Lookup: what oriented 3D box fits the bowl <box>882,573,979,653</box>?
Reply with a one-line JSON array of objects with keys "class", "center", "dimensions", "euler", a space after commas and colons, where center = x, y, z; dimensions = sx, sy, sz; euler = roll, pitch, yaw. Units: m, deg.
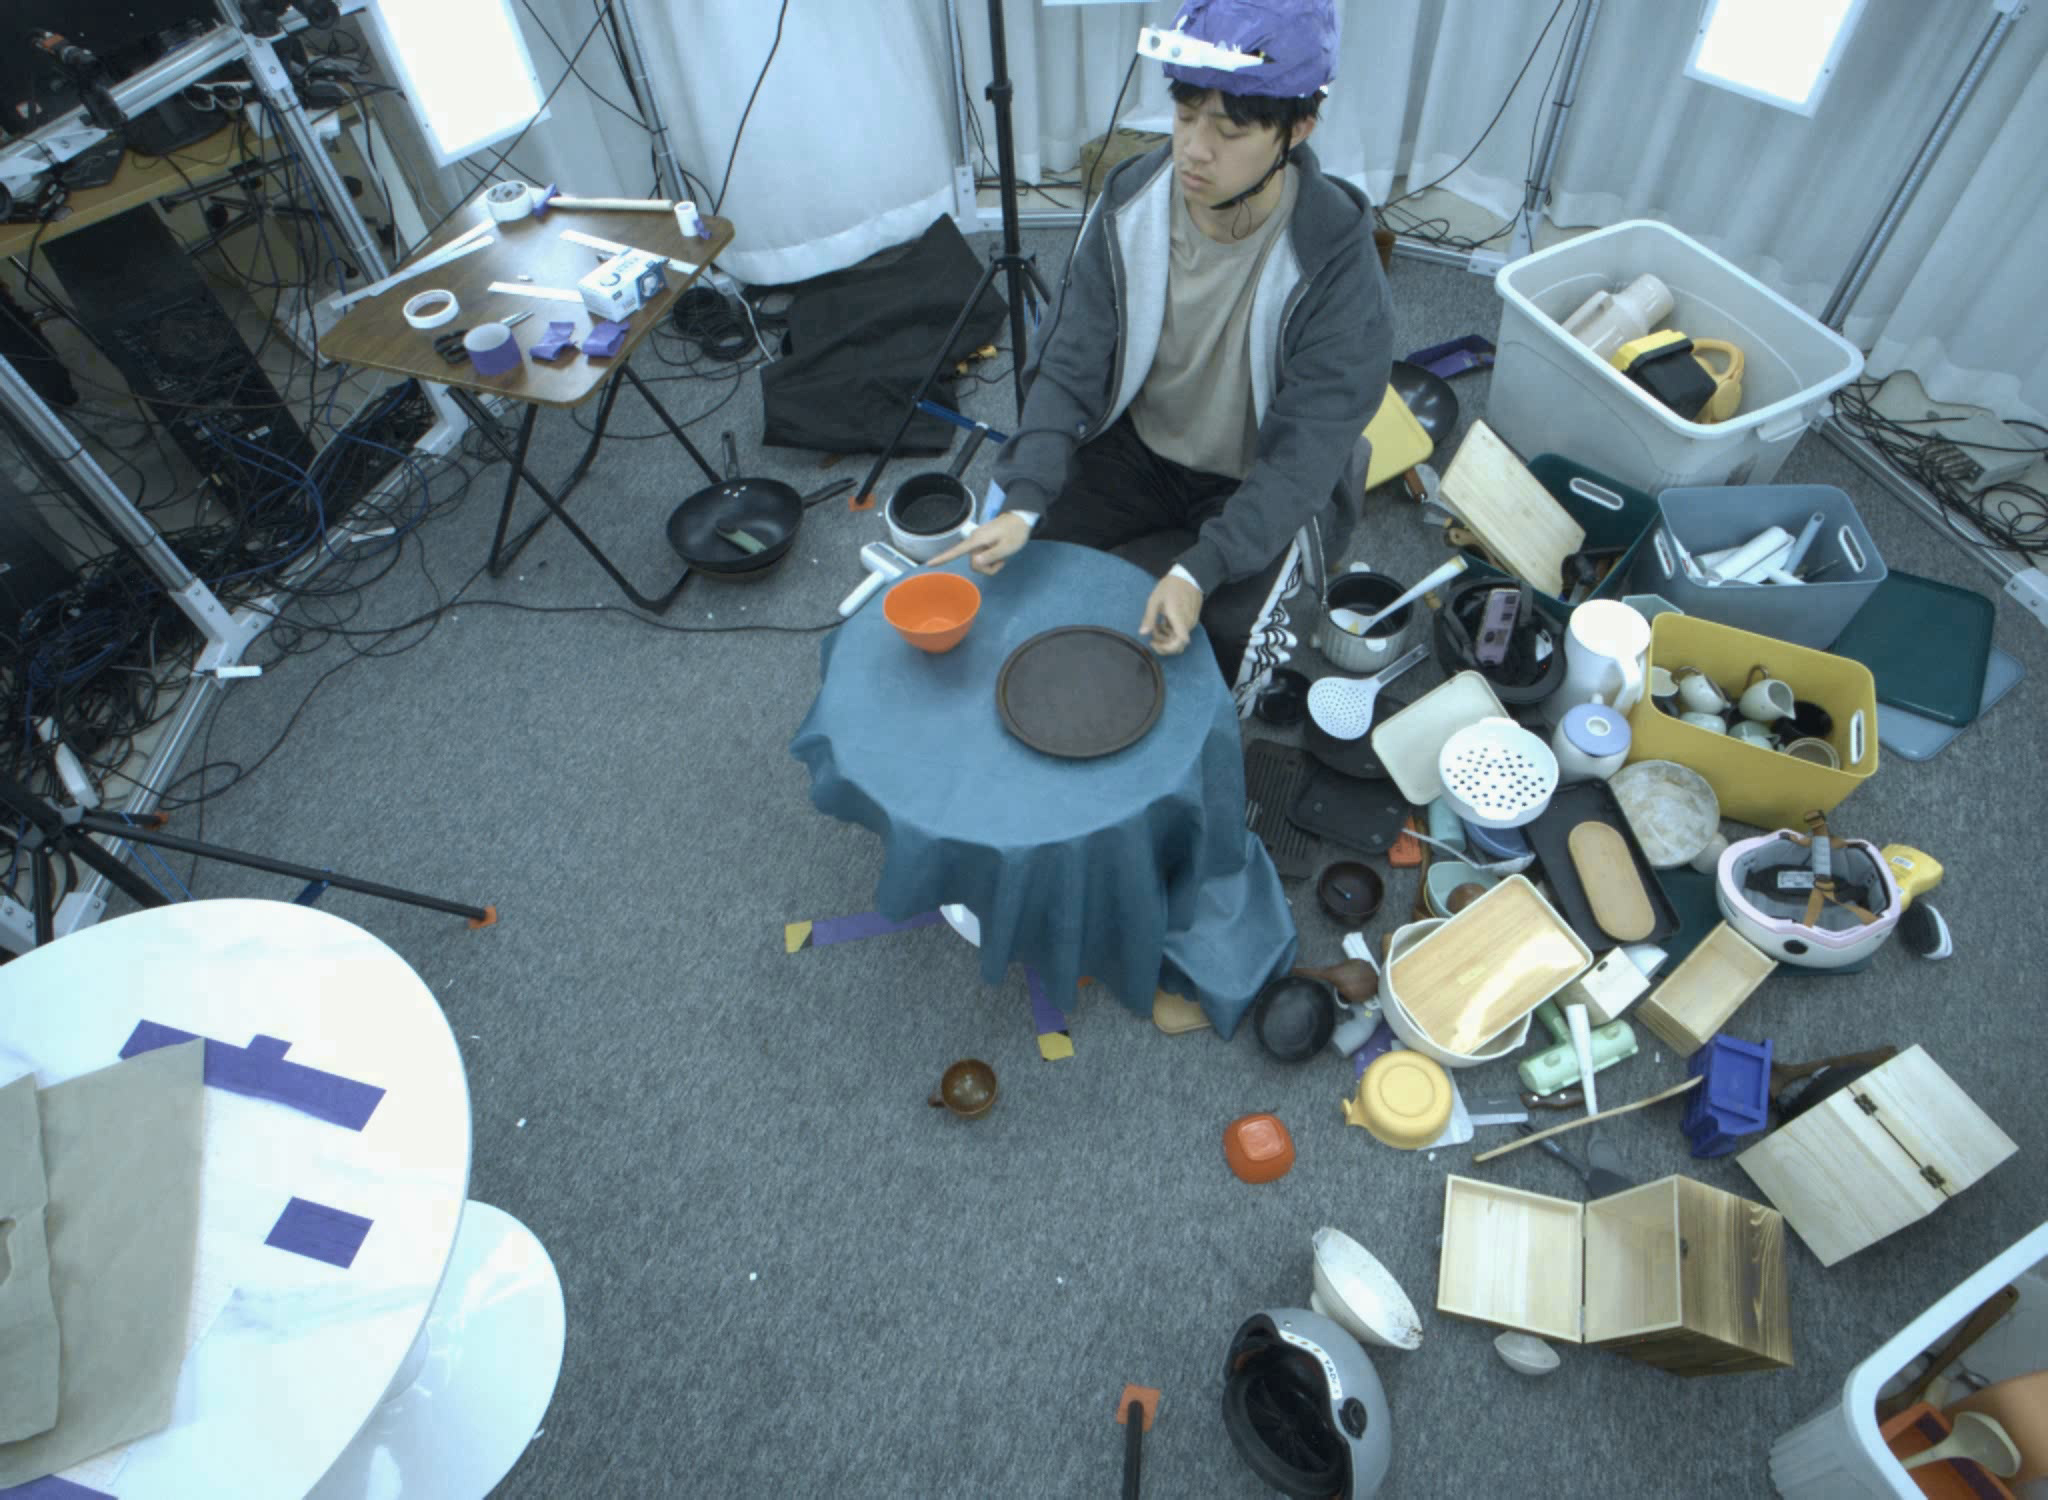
[{"class": "bowl", "center": [-0.138, -0.197, 1.872], "dimensions": [0.148, 0.106, 0.146], "euler": [-1, 55, 3]}]

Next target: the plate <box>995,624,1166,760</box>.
[{"class": "plate", "center": [0.083, -0.088, 1.836], "dimensions": [0.254, 0.029, 0.252], "euler": [-1, 54, 3]}]
